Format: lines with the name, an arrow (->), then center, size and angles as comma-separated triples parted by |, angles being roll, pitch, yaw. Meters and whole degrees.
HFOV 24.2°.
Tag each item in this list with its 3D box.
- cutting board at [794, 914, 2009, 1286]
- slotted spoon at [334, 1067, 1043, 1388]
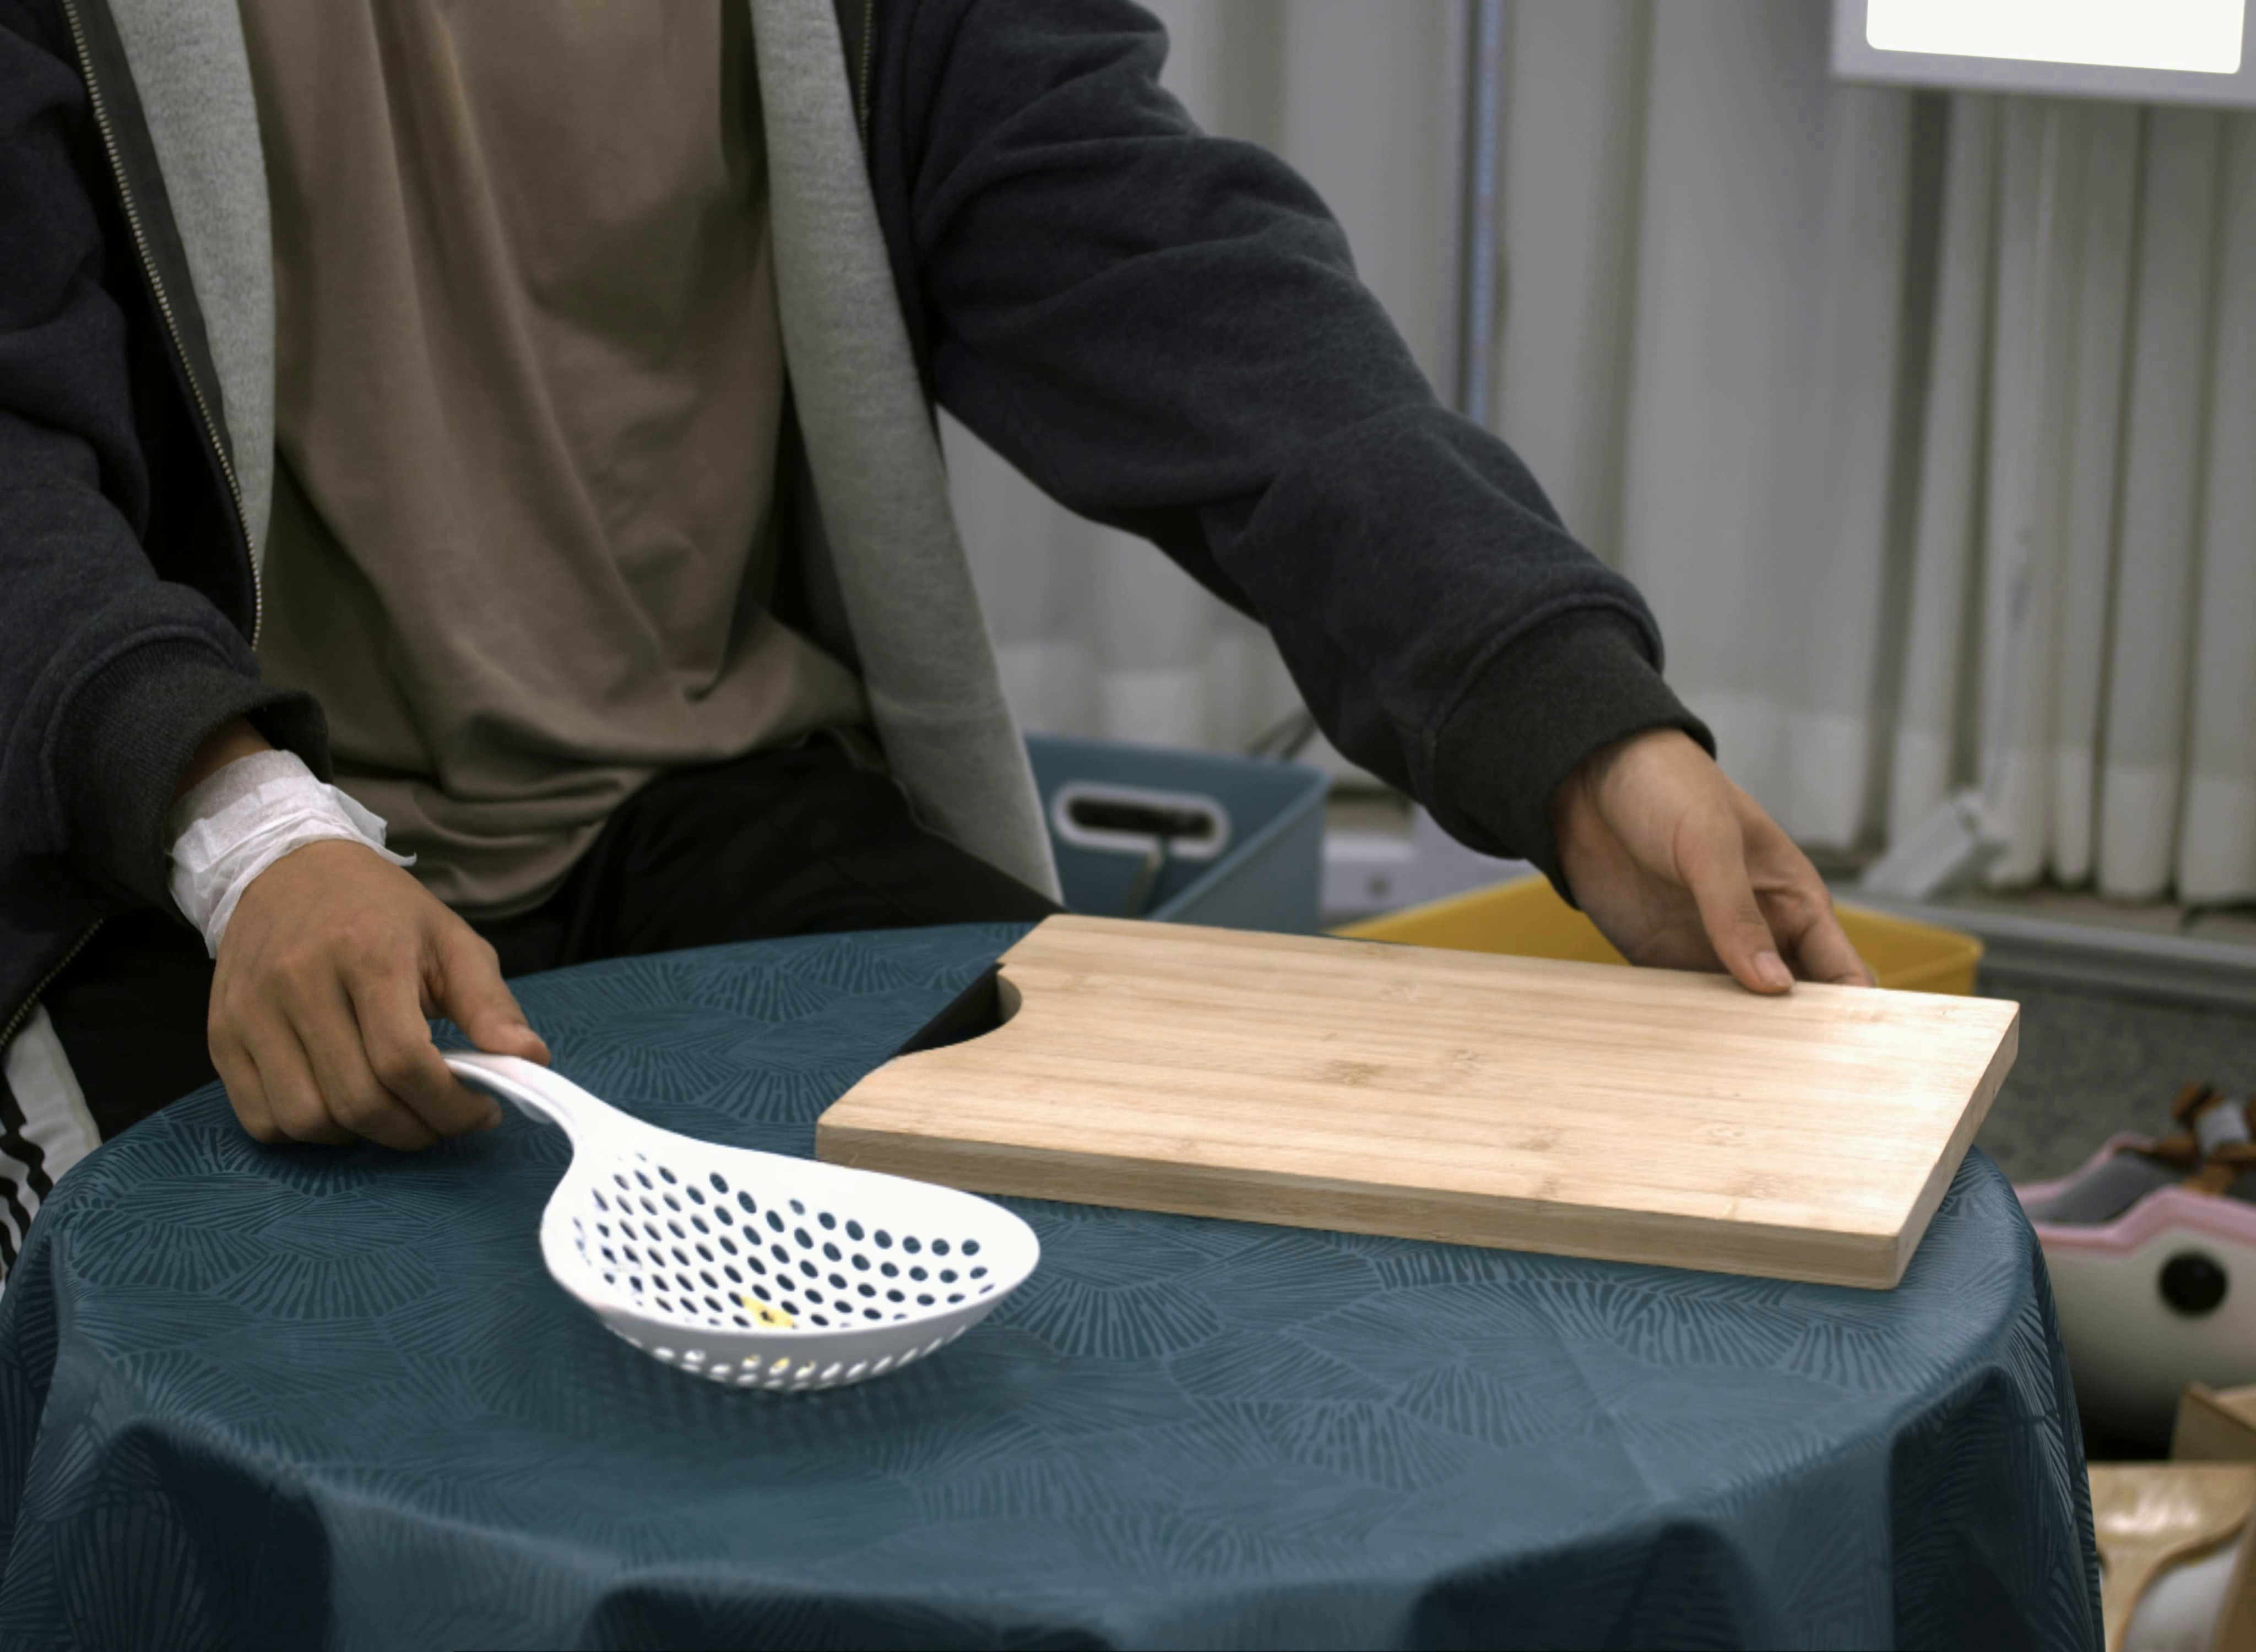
cutting board -> 0.095, 0.084, 1.697 | 0.346, 0.024, 0.250 | 5, 16, 15
slotted spoon -> -0.151, 0.104, 1.556 | 0.137, 0.051, 0.343 | -10, 21, -31
